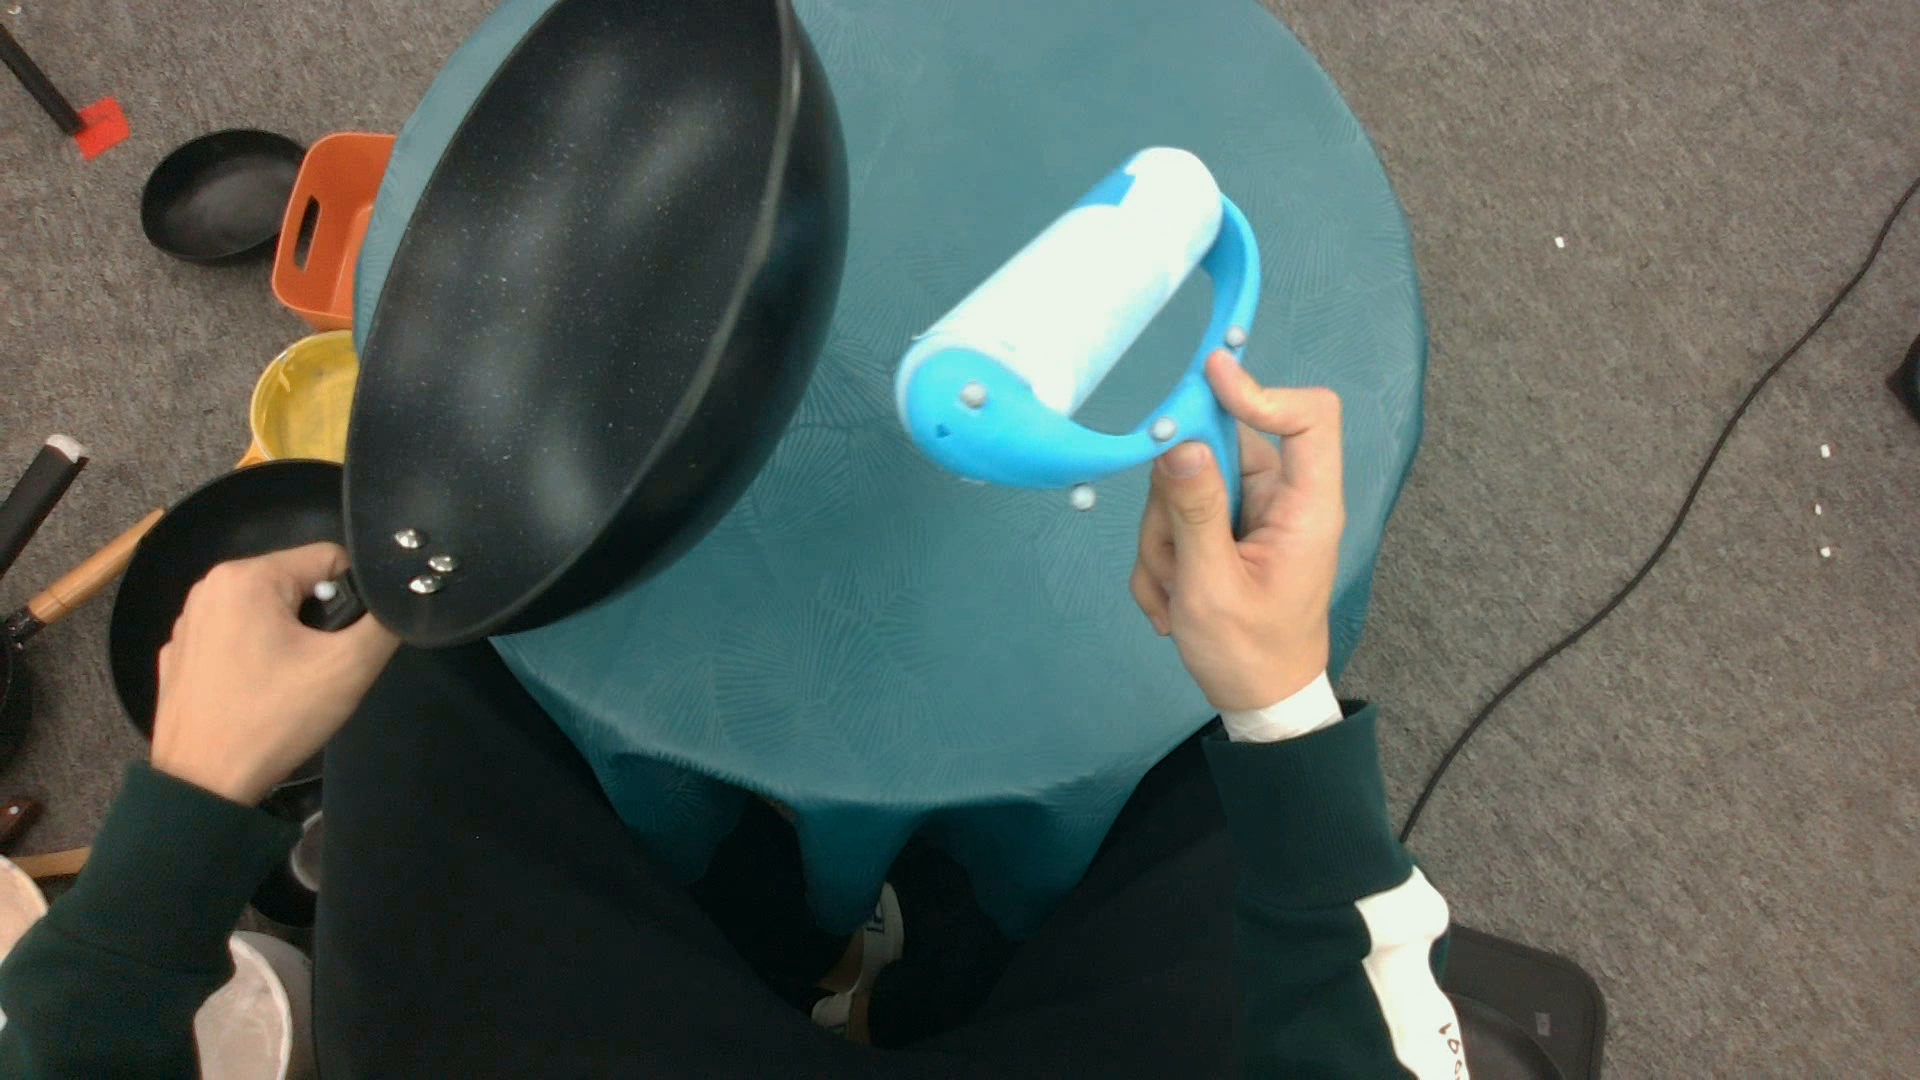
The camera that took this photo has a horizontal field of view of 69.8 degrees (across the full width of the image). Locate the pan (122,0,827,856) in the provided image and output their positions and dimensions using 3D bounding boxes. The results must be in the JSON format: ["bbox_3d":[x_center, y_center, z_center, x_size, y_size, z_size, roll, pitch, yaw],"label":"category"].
[{"bbox_3d":[-0.202,-0.040,0.584,0.475,0.112,0.311,-55,42,15],"label":"pan"}]

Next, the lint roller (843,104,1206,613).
[{"bbox_3d":[0.055,-0.052,0.514,0.180,0.067,0.230,56,37,-22],"label":"lint roller"}]
